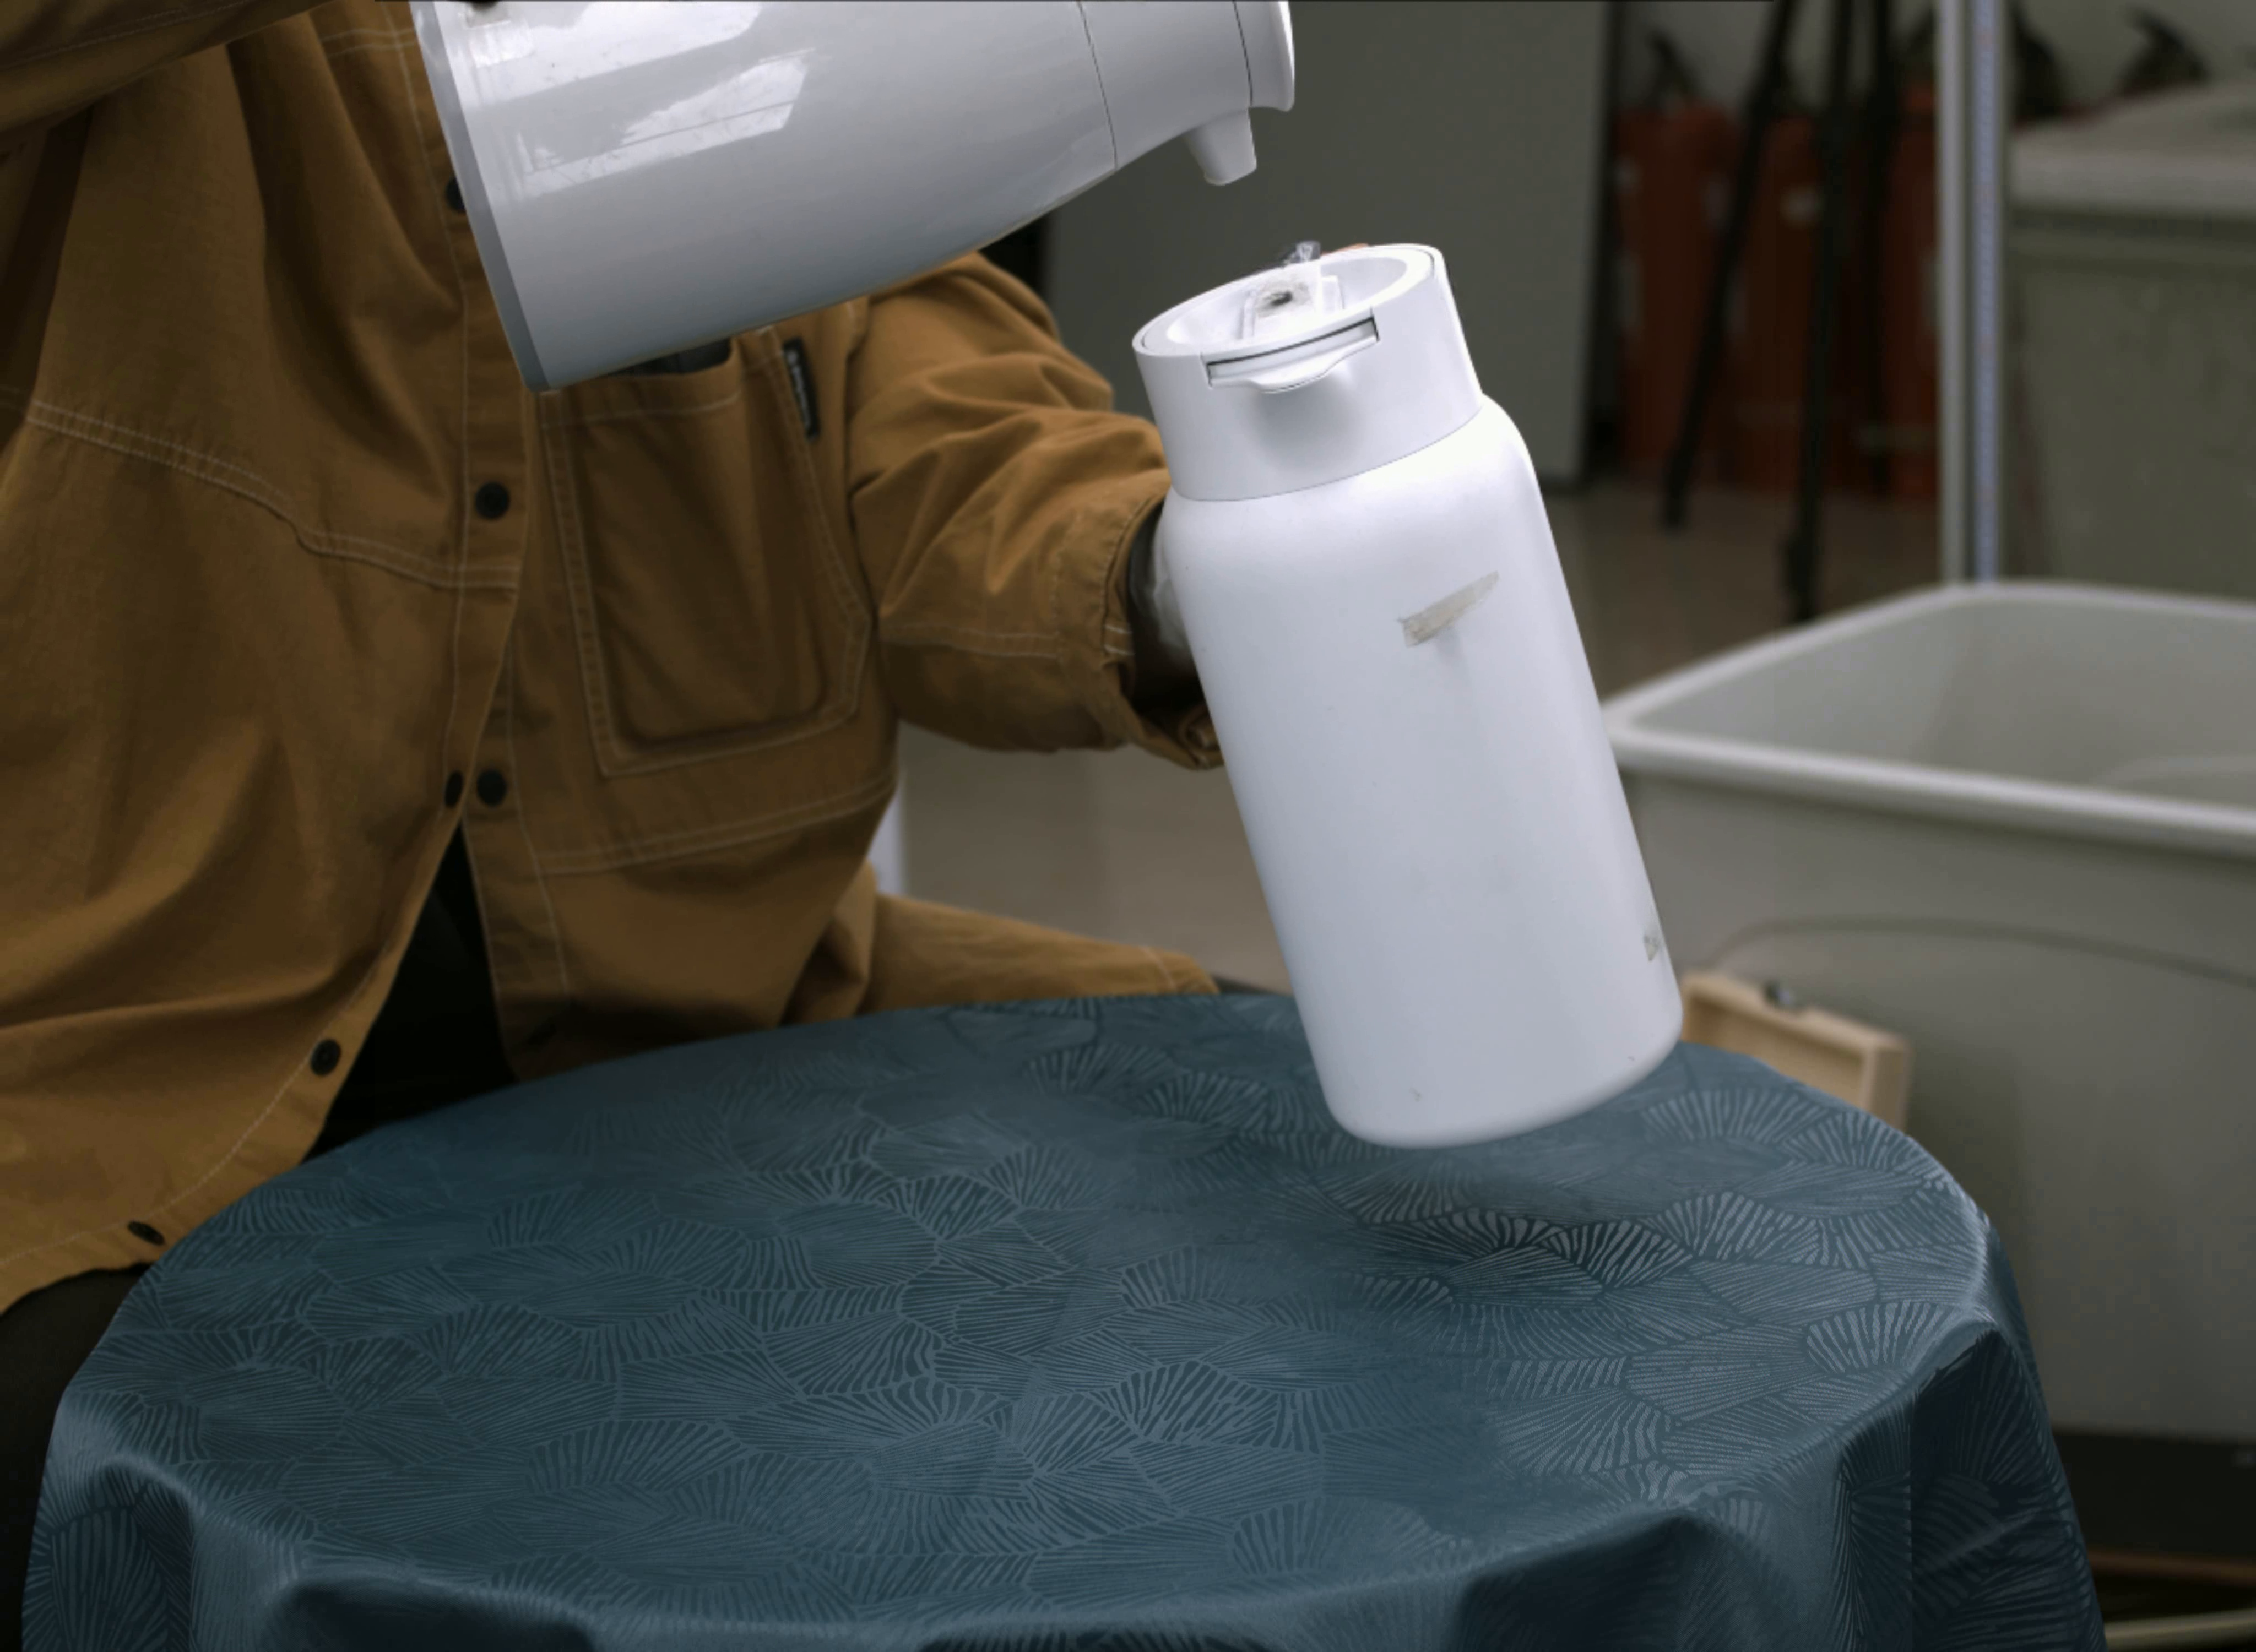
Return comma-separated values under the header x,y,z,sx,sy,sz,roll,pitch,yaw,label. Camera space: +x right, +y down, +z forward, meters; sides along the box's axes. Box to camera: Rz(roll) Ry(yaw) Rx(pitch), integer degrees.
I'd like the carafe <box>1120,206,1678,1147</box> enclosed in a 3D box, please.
x,y,z,sx,sy,sz,roll,pitch,yaw,label
0.082,-0.049,1.675,0.123,0.270,0.173,-17,16,8,carafe

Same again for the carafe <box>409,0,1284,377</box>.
x,y,z,sx,sy,sz,roll,pitch,yaw,label
-0.082,-0.246,1.571,0.246,0.168,0.133,-17,28,-1,carafe
